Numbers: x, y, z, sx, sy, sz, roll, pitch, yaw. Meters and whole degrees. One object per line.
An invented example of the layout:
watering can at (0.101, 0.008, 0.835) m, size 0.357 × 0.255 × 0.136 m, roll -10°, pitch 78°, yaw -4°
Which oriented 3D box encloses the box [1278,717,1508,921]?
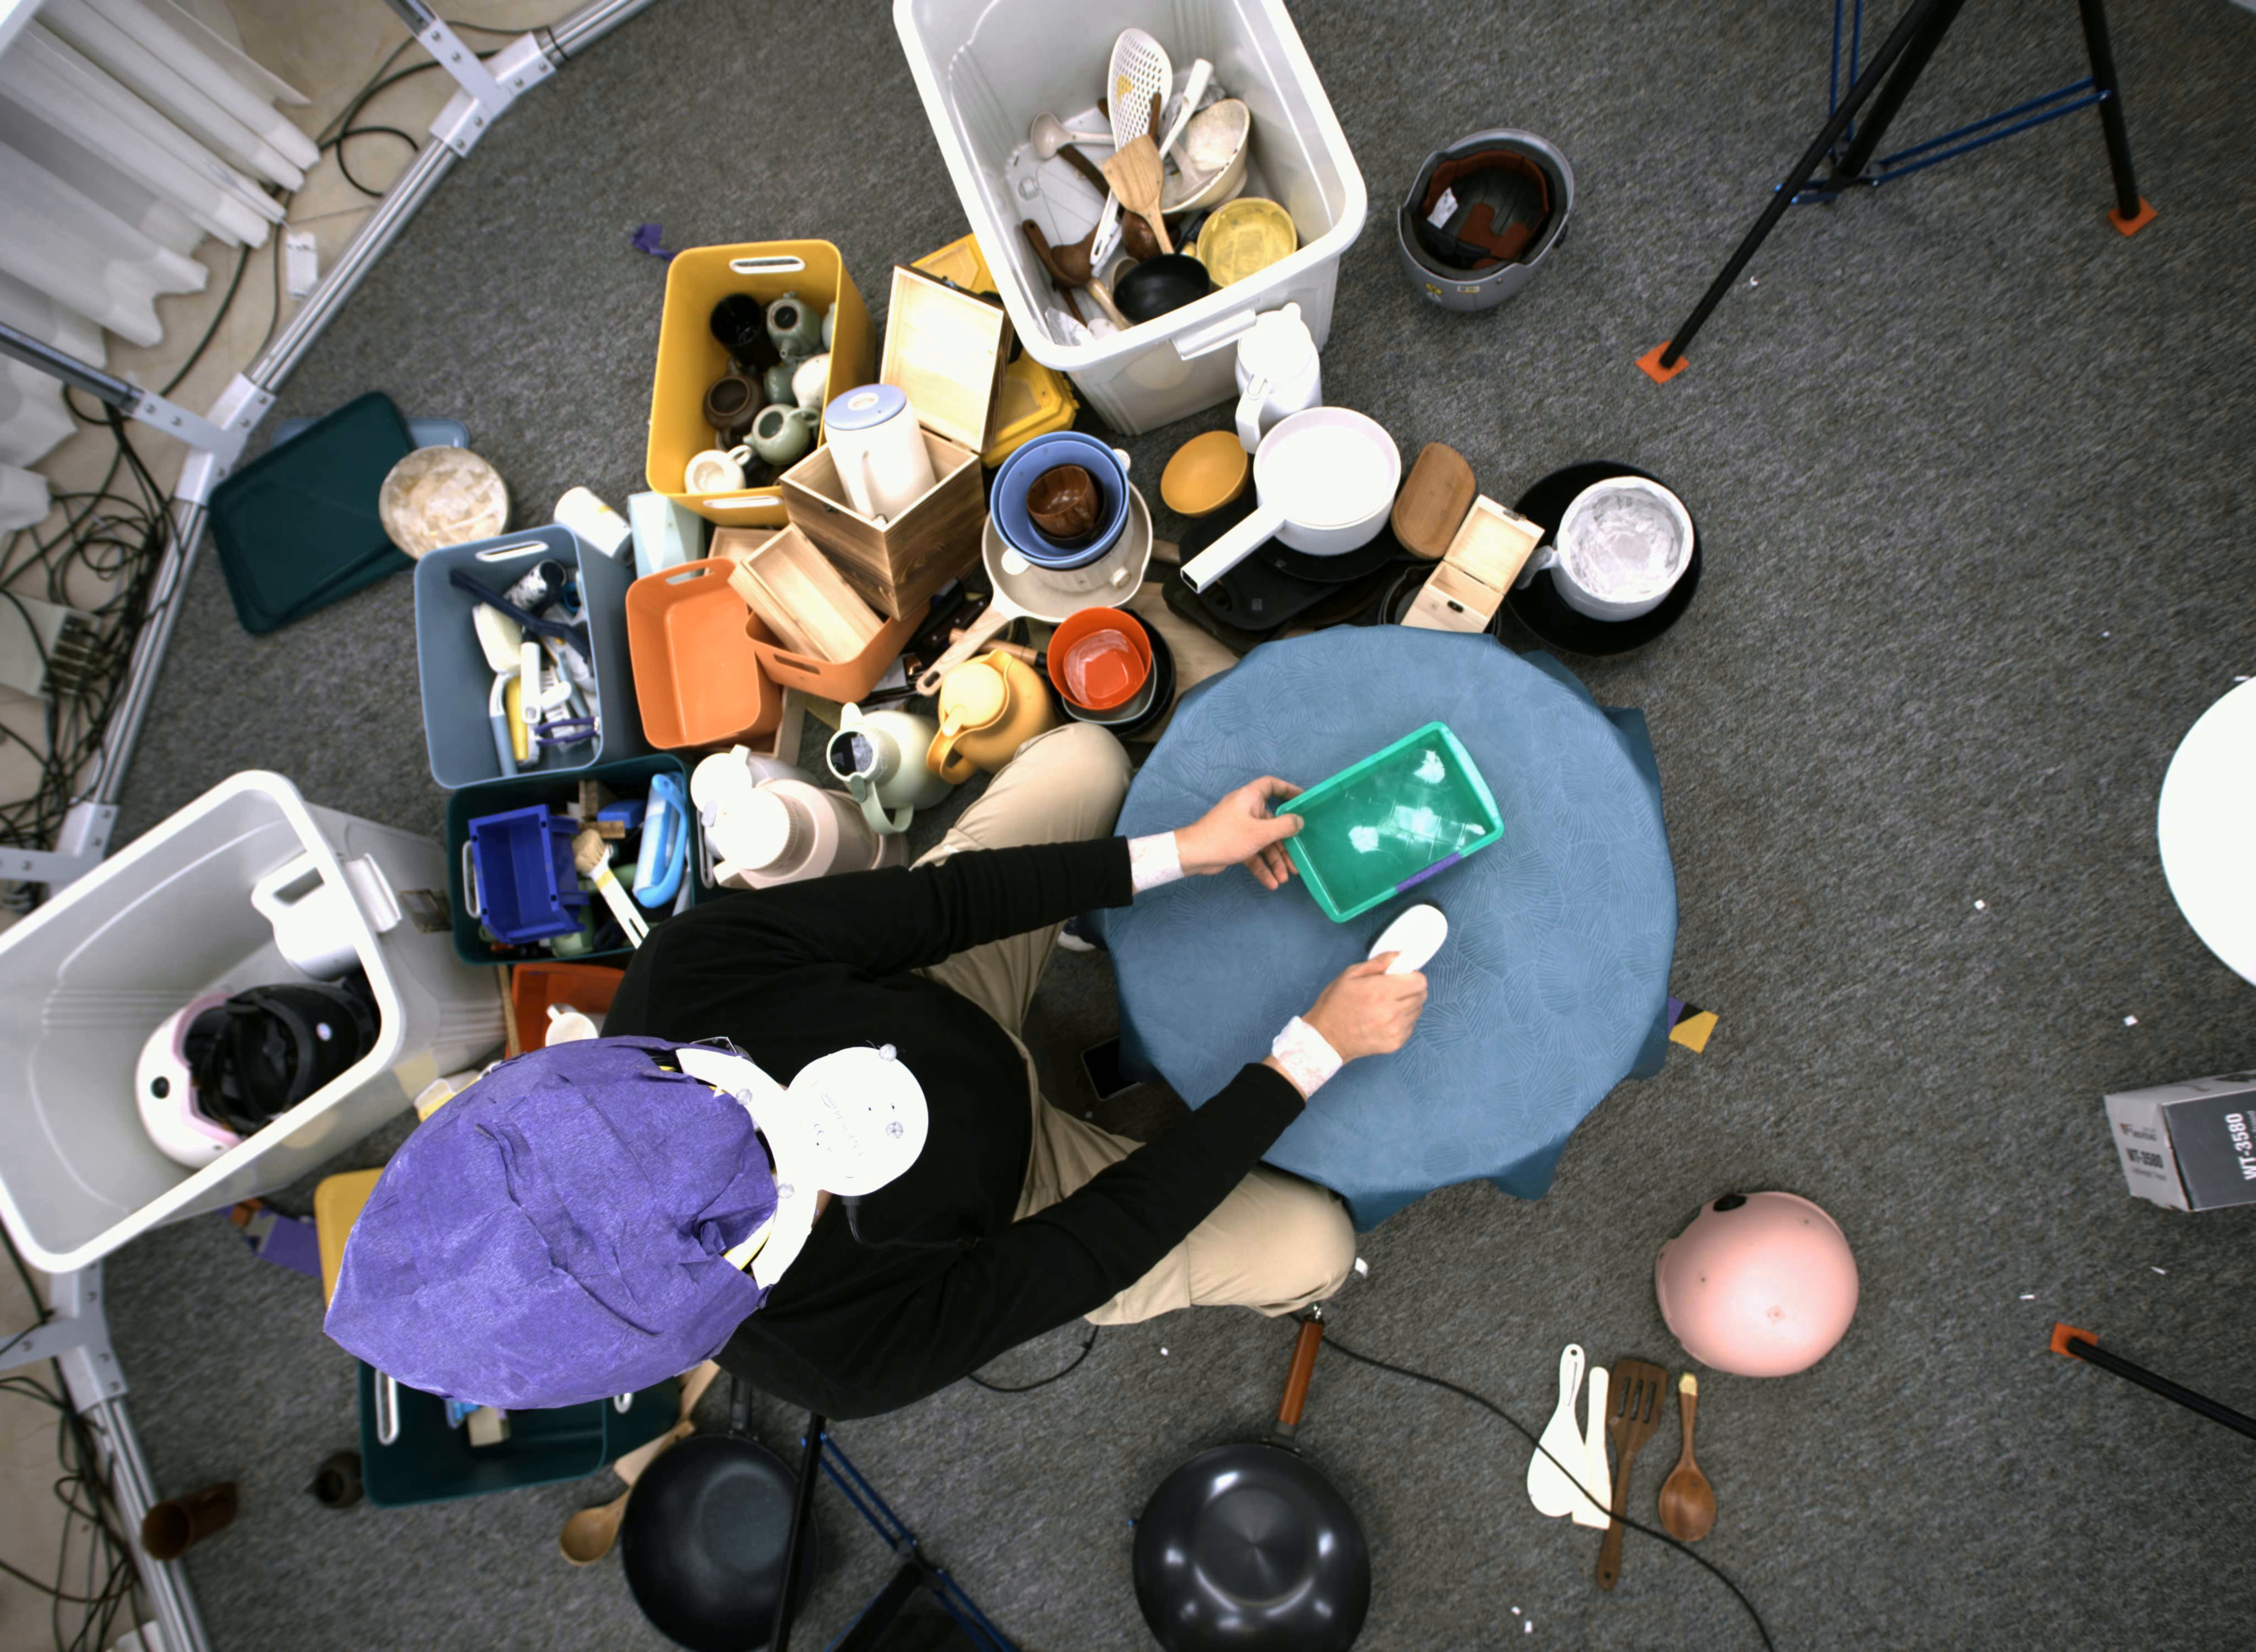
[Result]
box at (0.273, -0.006, 1.432) m, size 0.211 × 0.065 × 0.138 m, roll -31°, pitch 83°, yaw 7°

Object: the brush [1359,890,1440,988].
brush at (0.269, 0.117, 1.368) m, size 0.050 × 0.071 × 0.101 m, roll 35°, pitch 116°, yaw -7°
